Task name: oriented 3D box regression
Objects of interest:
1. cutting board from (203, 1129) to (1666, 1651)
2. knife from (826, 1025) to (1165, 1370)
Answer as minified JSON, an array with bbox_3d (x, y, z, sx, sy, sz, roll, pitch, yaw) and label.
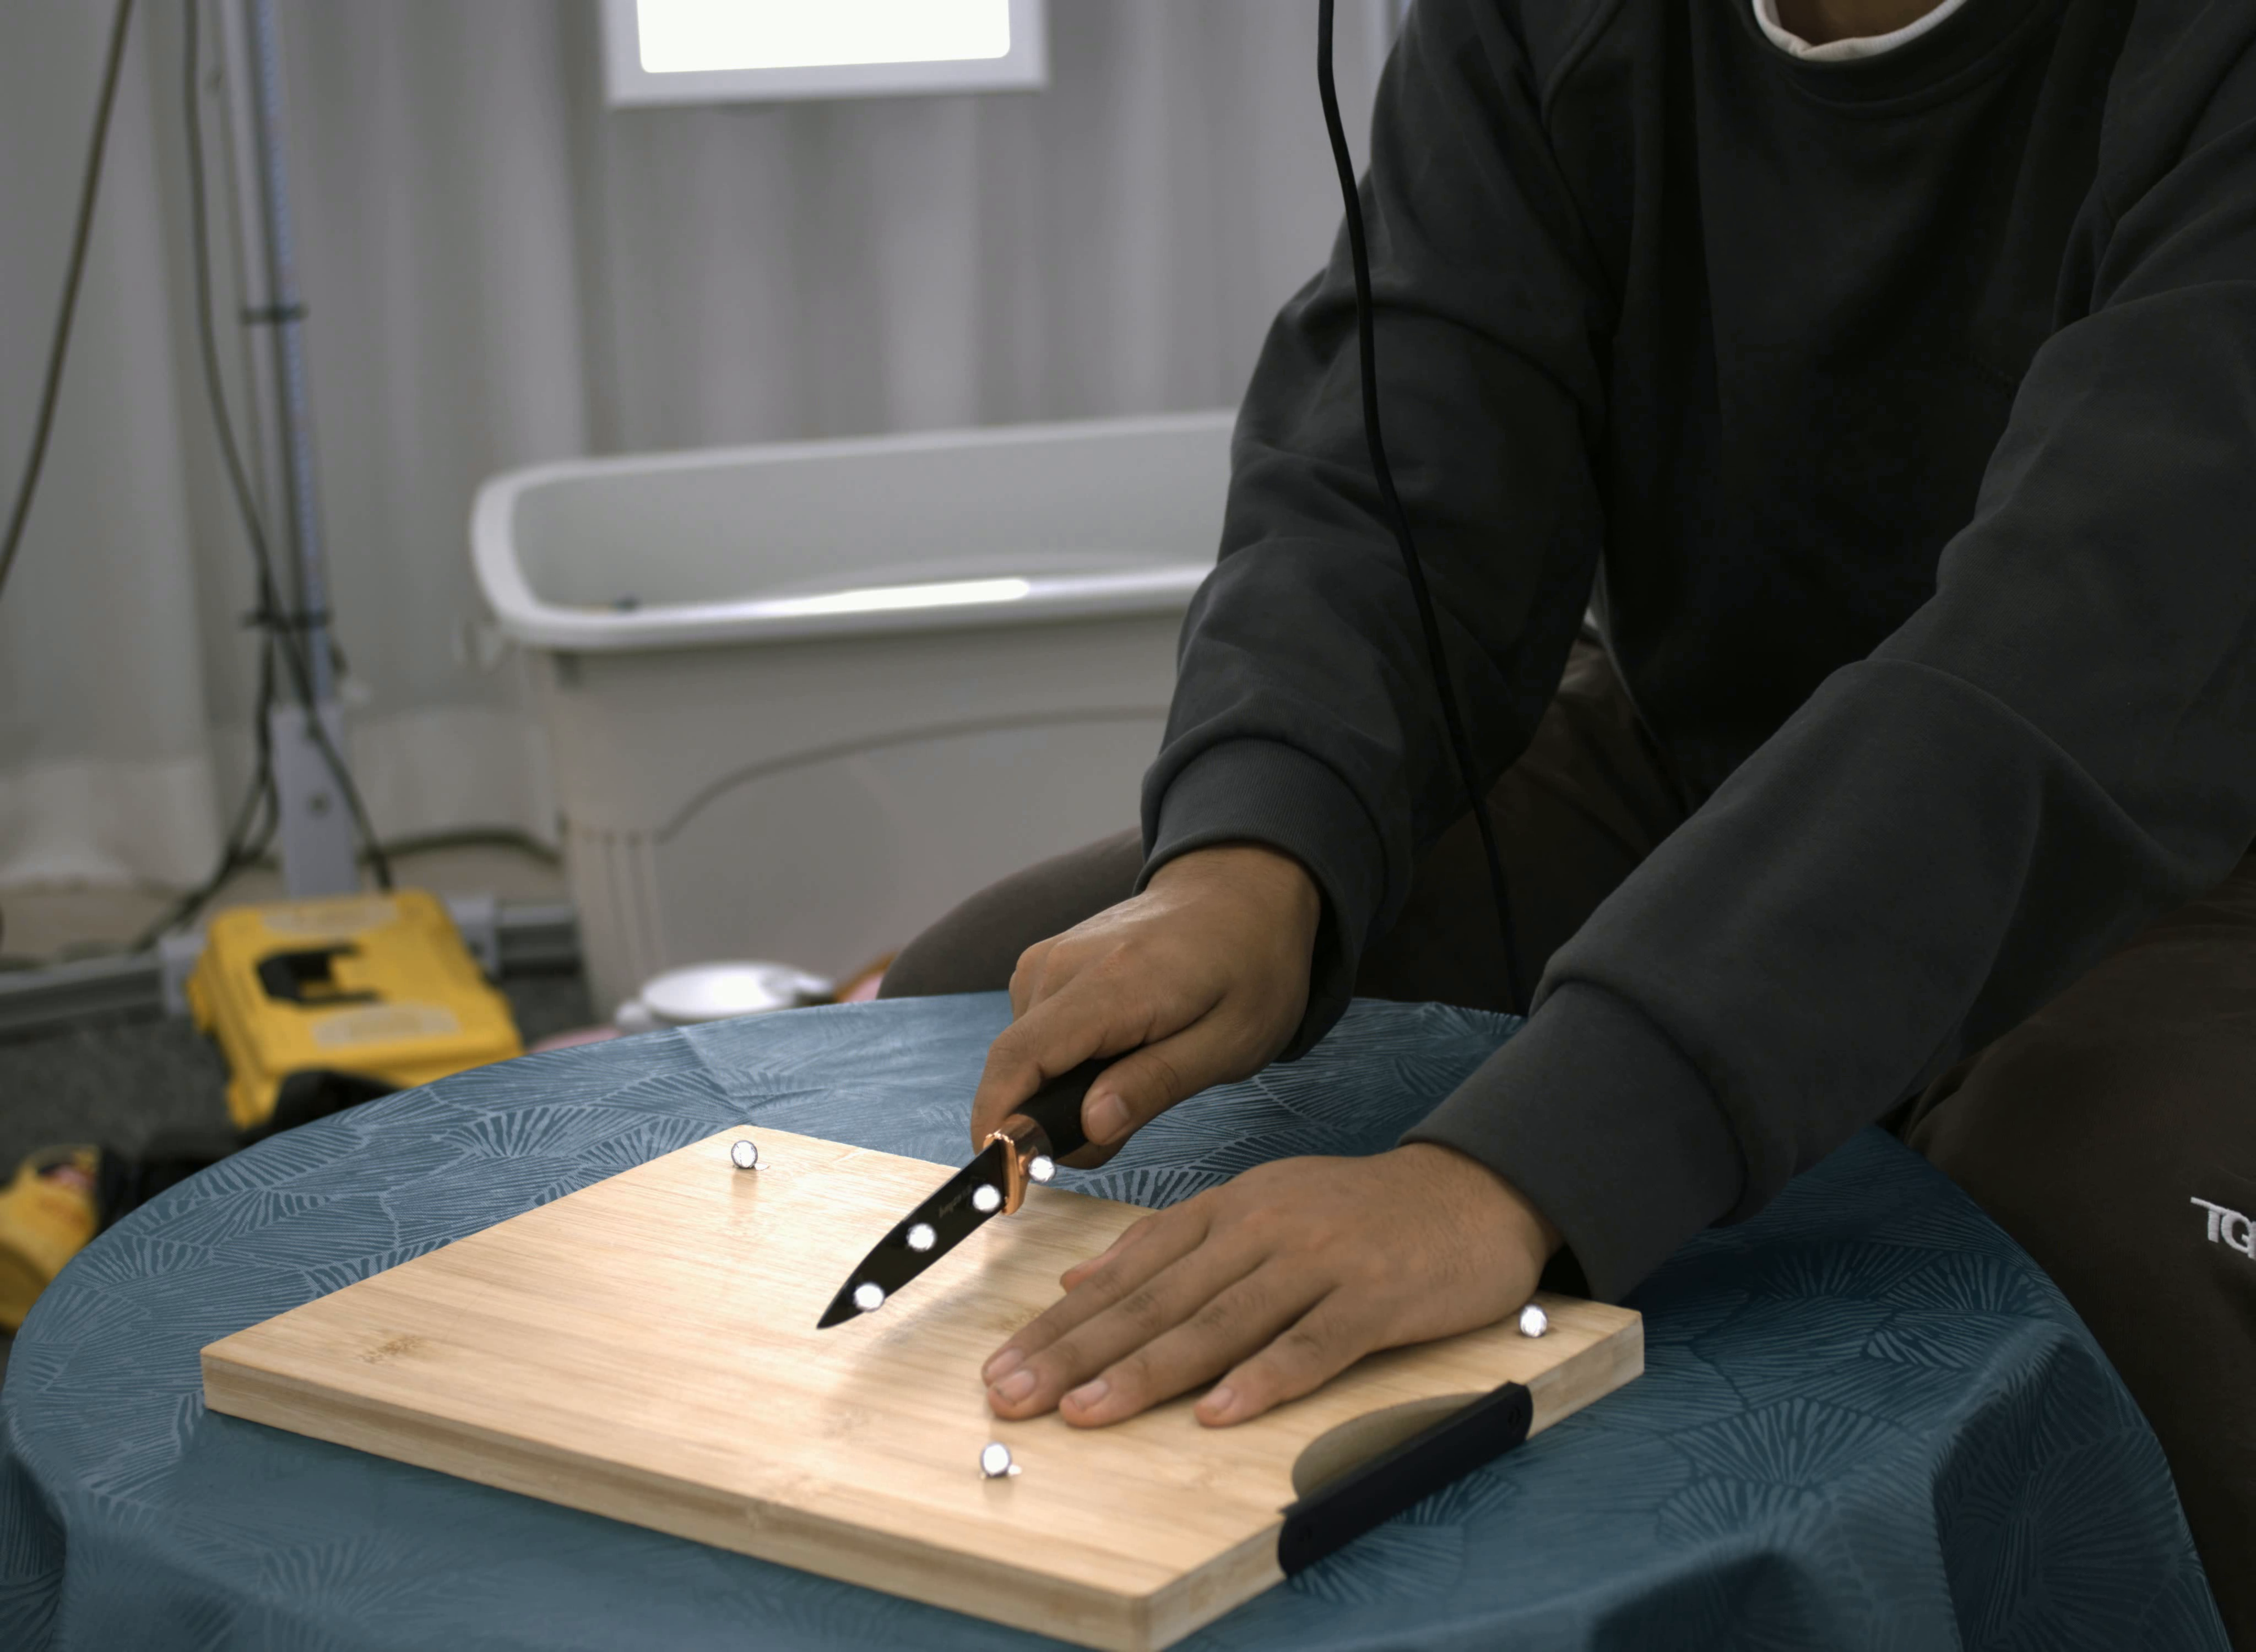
[{"bbox_3d":[-0.056,0.154,1.549,0.350,0.023,0.250,8,19,36],"label":"cutting board"},{"bbox_3d":[-0.038,0.107,1.617,0.017,0.026,0.226,1,20,25],"label":"knife"}]
